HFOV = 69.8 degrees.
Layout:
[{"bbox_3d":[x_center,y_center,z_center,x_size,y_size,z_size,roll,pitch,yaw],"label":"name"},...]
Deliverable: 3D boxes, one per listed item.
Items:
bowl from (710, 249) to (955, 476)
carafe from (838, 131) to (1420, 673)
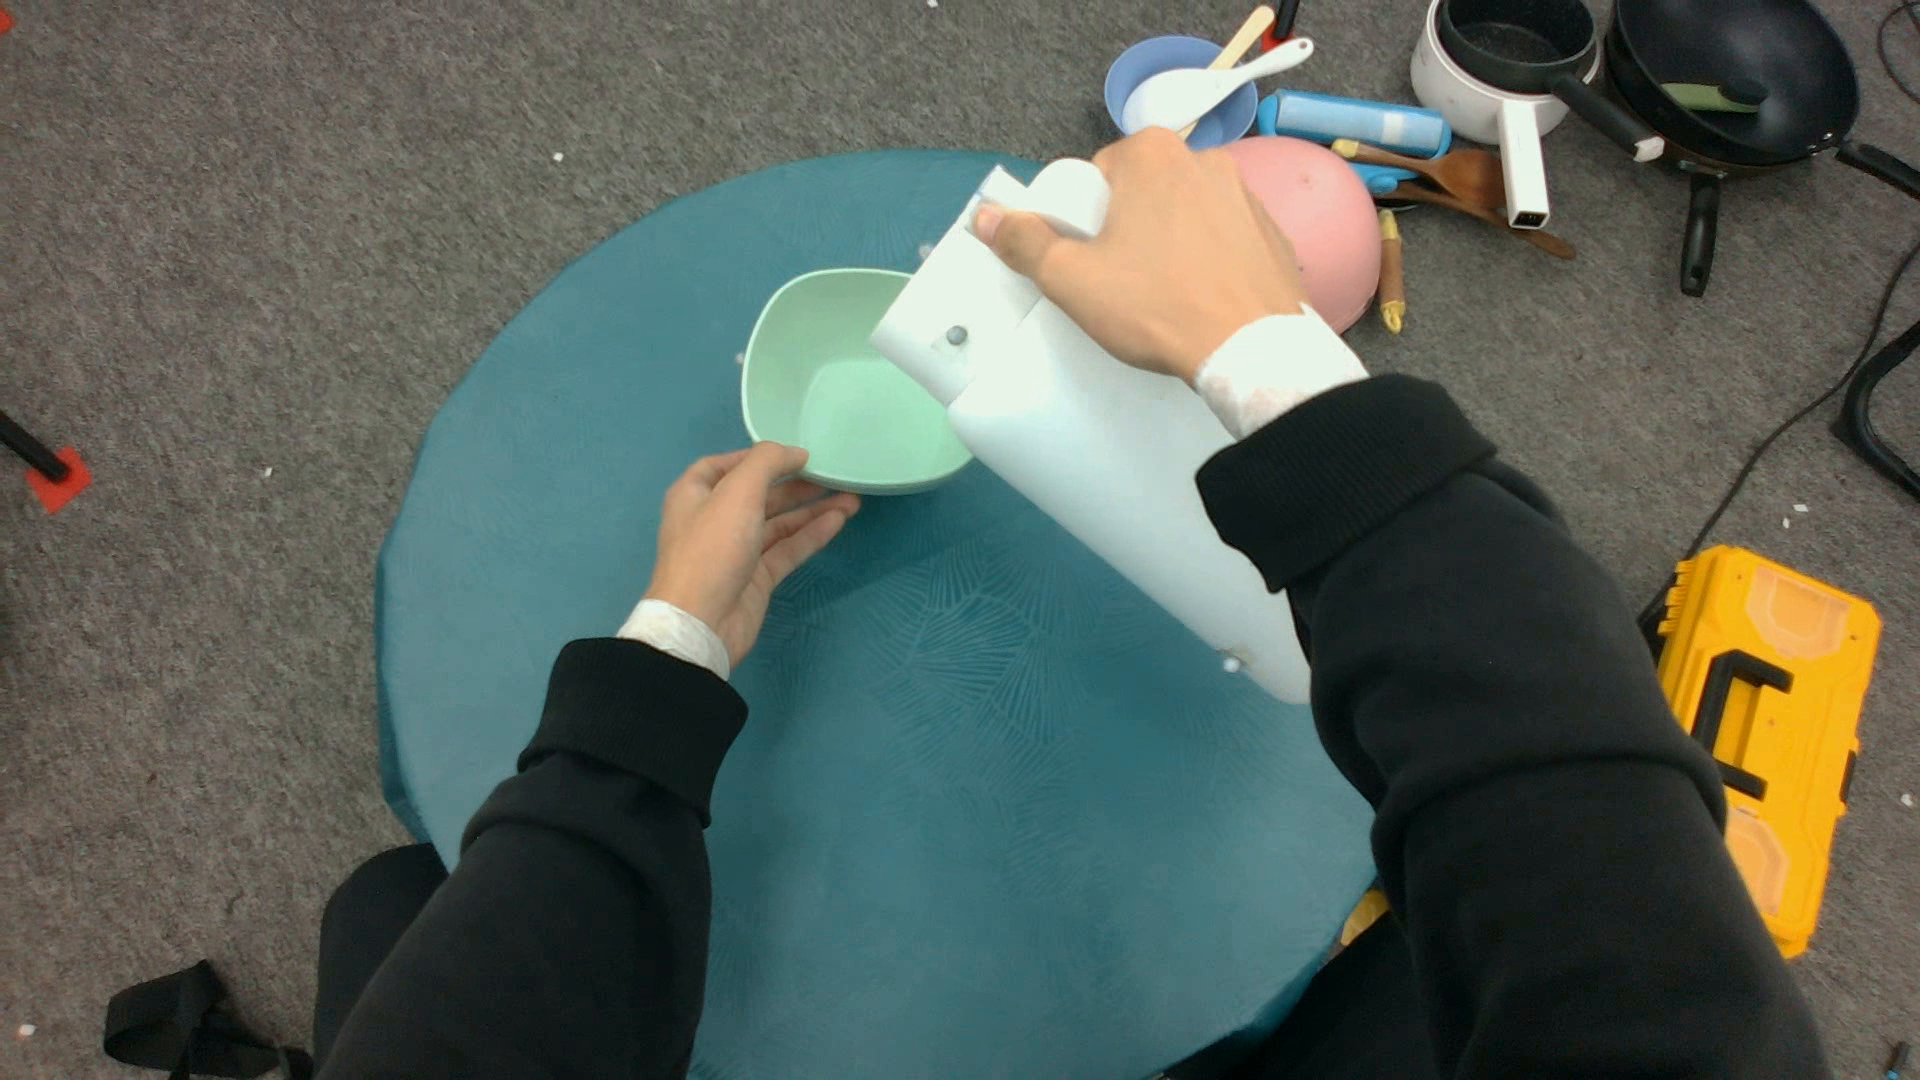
[{"bbox_3d":[-0.066,-0.089,0.766,0.151,0.058,0.152,2,63,-5],"label":"bowl"},{"bbox_3d":[0.085,-0.065,0.622,0.269,0.172,0.124,40,62,-9],"label":"carafe"}]
